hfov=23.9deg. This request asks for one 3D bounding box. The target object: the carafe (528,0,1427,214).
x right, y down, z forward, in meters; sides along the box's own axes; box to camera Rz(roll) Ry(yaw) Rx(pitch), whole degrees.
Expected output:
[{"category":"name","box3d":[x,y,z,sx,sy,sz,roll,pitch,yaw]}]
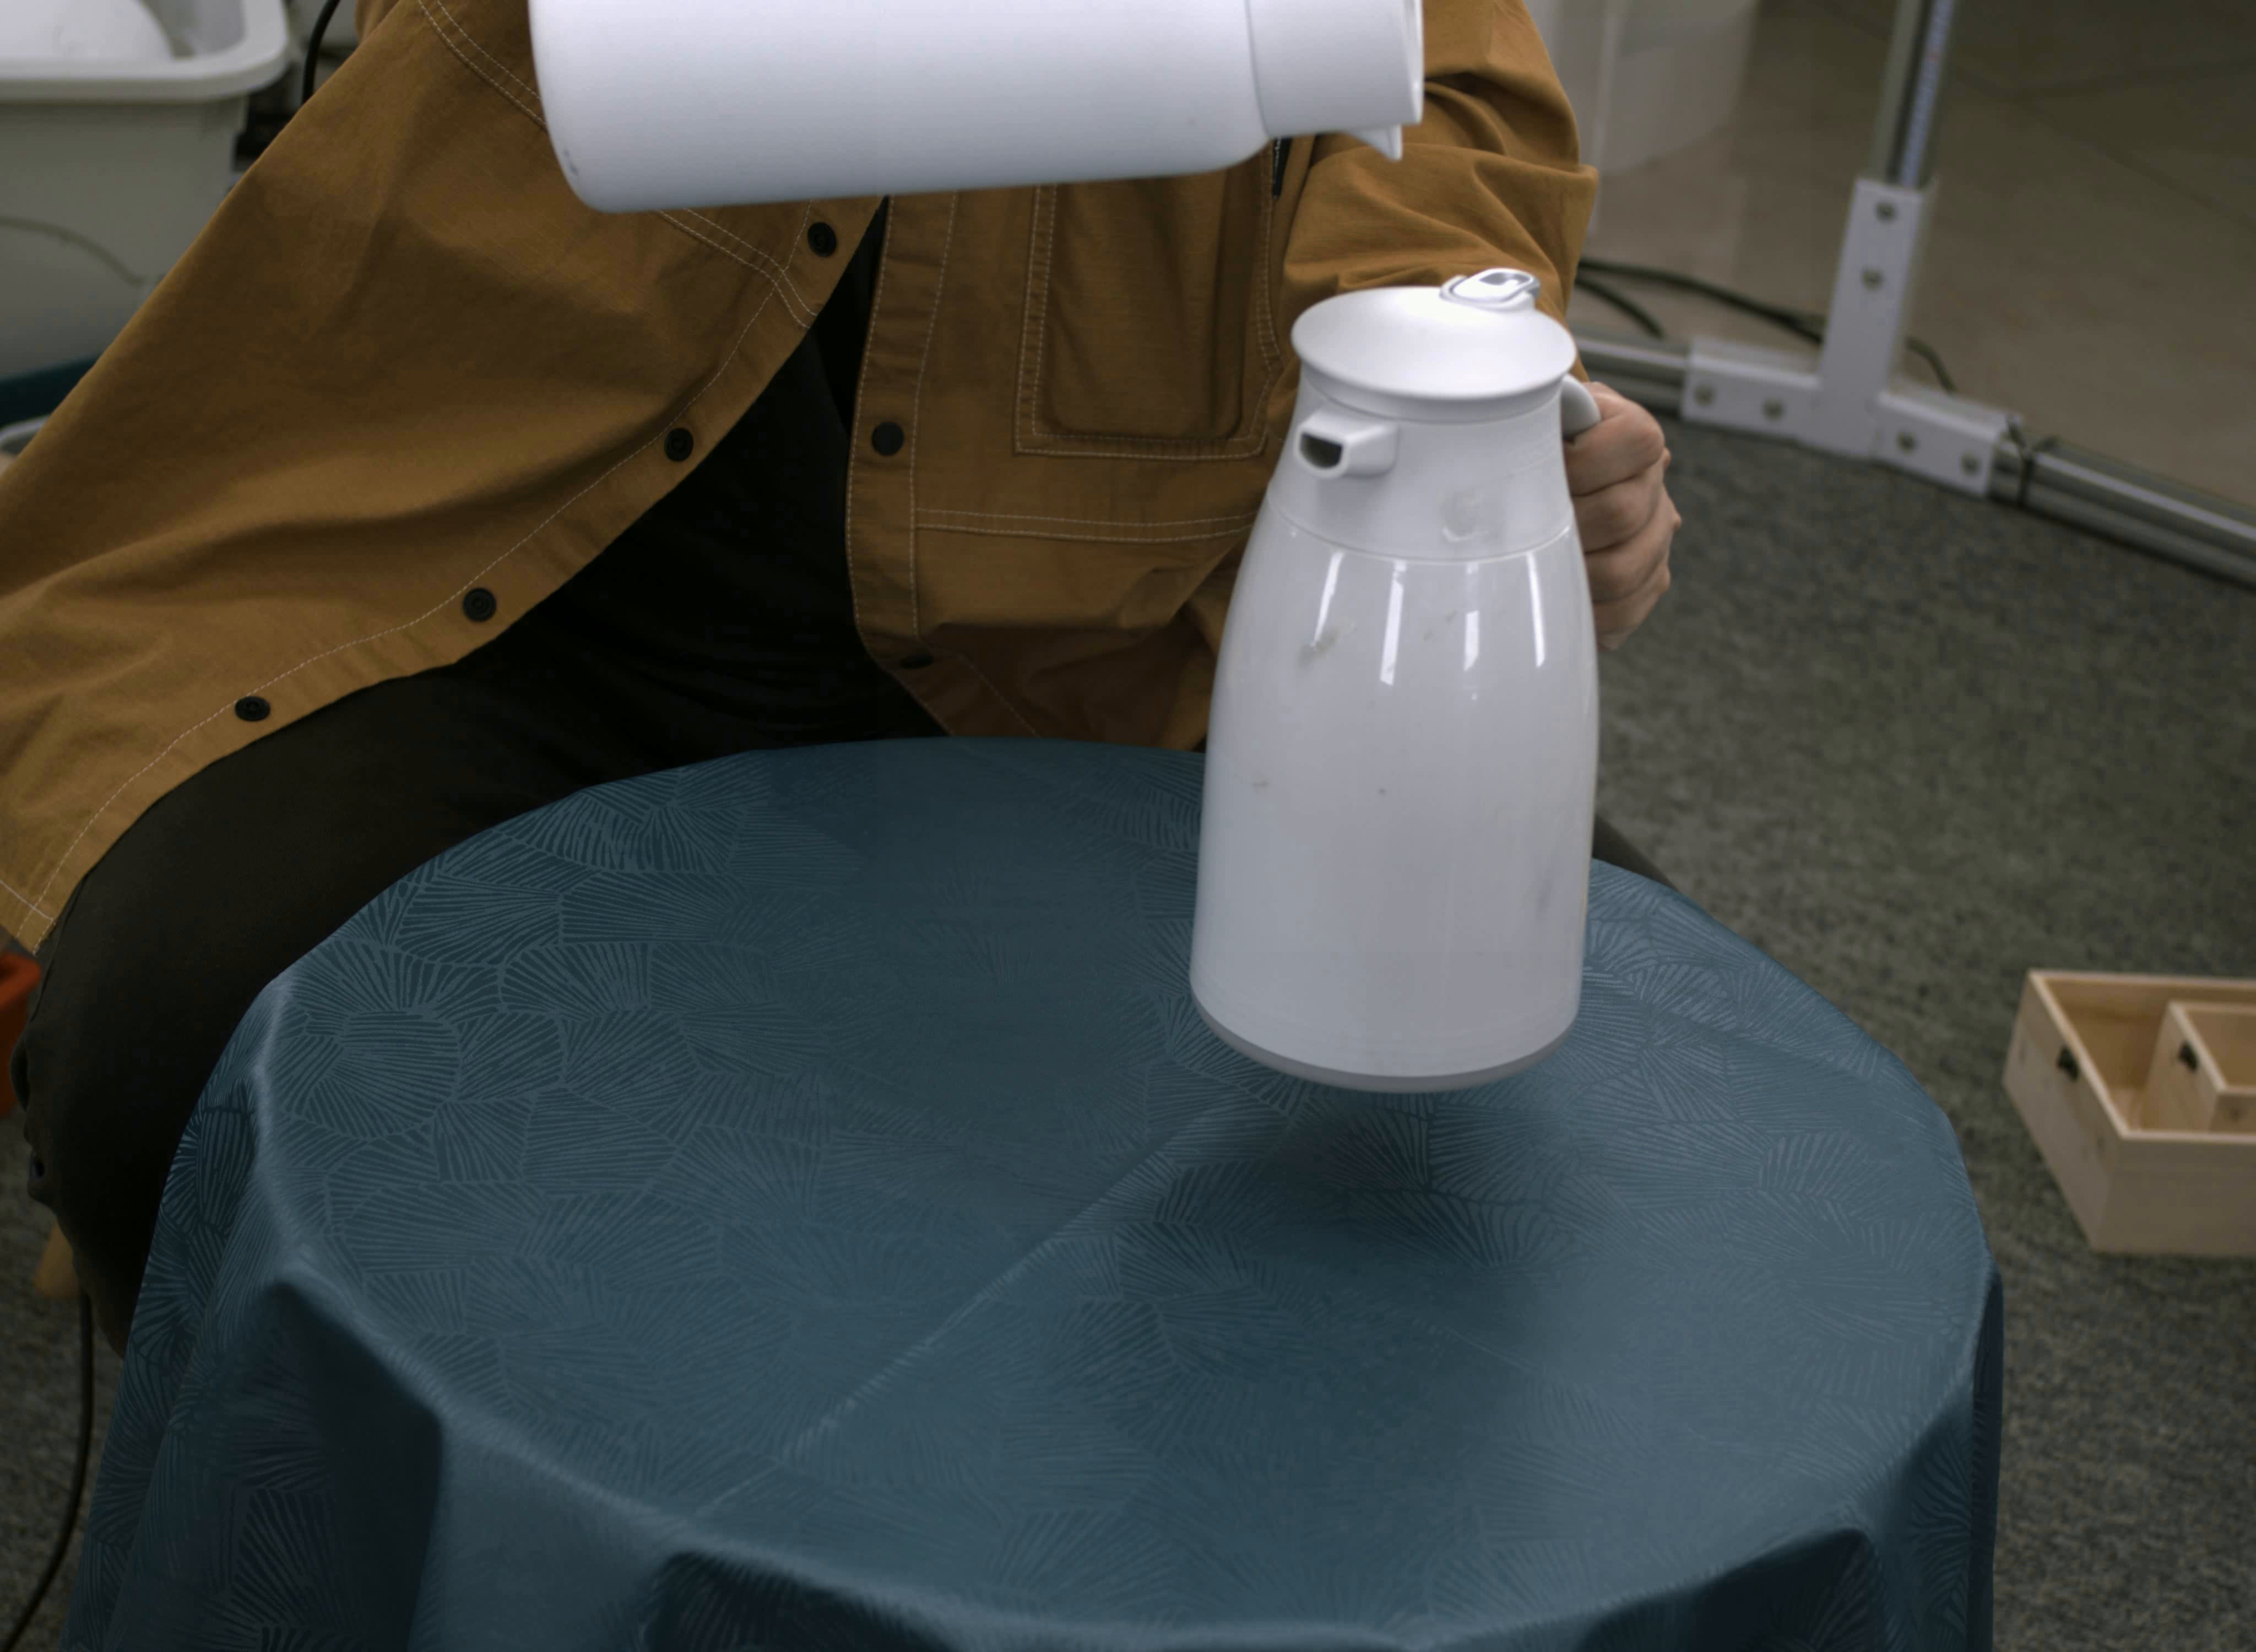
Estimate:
[{"category":"carafe","box3d":[-0.048,-0.269,1.632,0.268,0.171,0.125,-3,41,10]}]

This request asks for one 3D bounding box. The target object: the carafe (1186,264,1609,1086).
[{"category":"carafe","box3d":[0.102,-0.061,1.761,0.133,0.248,0.167,20,31,31]}]
